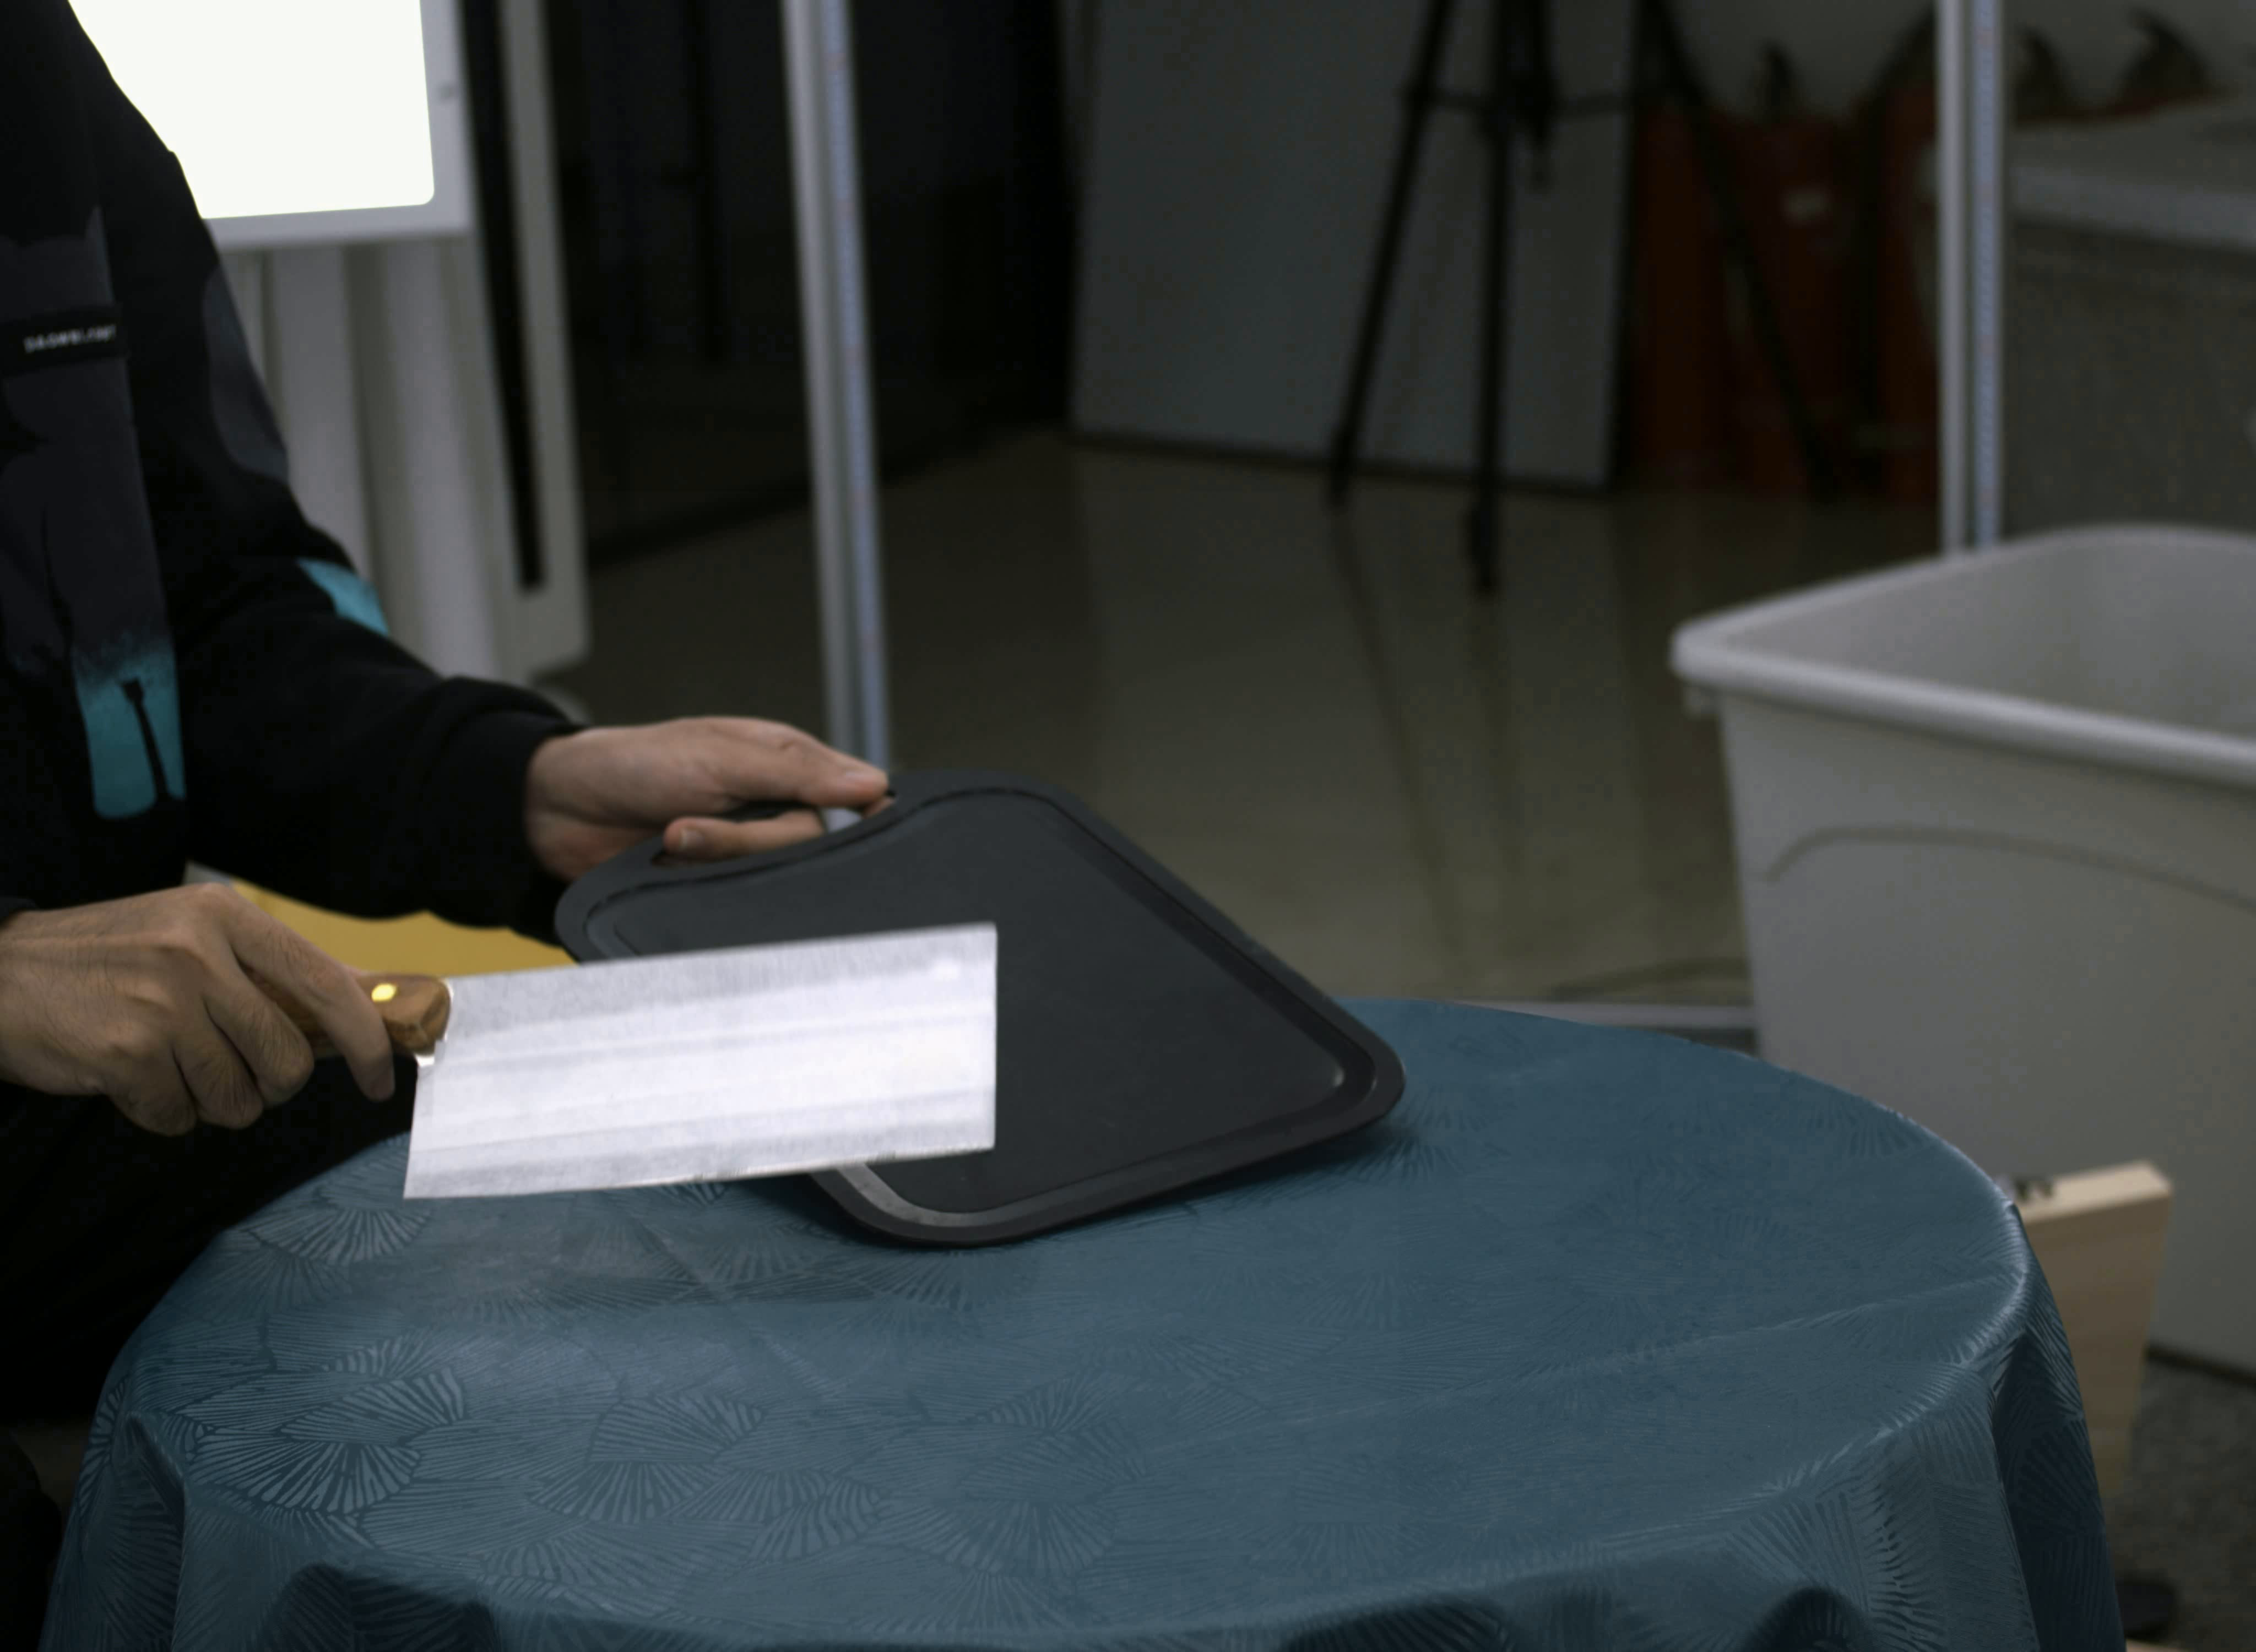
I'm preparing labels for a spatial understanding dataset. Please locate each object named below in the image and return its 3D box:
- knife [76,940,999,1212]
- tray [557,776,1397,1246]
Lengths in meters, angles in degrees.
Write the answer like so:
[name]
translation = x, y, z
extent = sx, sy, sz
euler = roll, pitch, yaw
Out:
[knife]
translation = -0.190, 0.083, 1.718
extent = 0.303, 0.021, 0.093
euler = -6, 47, 7
[tray]
translation = -0.062, 0.055, 1.880
extent = 0.207, 0.010, 0.329
euler = -17, 30, -24
